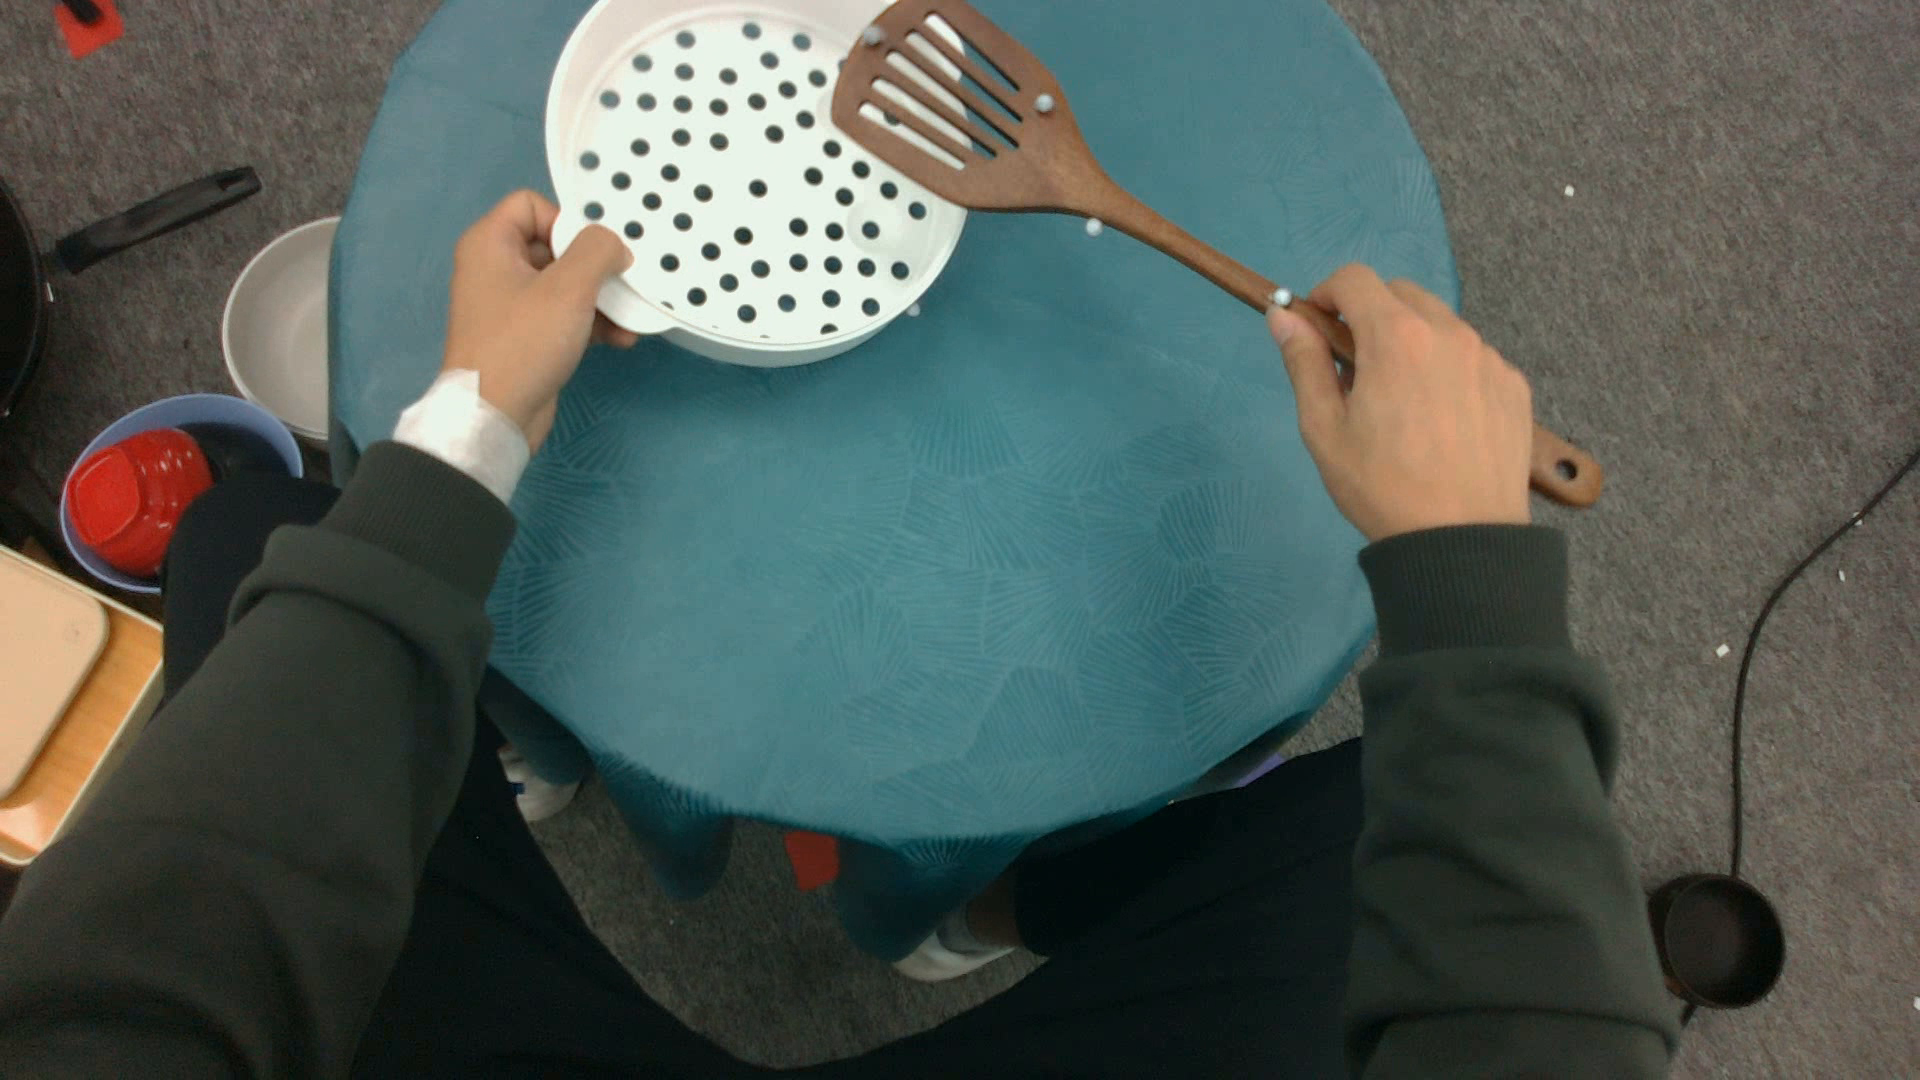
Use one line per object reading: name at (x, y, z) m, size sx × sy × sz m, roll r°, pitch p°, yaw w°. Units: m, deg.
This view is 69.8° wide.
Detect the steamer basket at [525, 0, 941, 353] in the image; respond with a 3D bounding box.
steamer basket at (-0.110, -0.193, 0.693) m, size 0.231 × 0.069 × 0.202 m, roll -45°, pitch 96°, yaw -9°

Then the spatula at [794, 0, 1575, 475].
spatula at (0.099, -0.134, 0.618) m, size 0.385 × 0.023 × 0.086 m, roll 32°, pitch 85°, yaw 11°
